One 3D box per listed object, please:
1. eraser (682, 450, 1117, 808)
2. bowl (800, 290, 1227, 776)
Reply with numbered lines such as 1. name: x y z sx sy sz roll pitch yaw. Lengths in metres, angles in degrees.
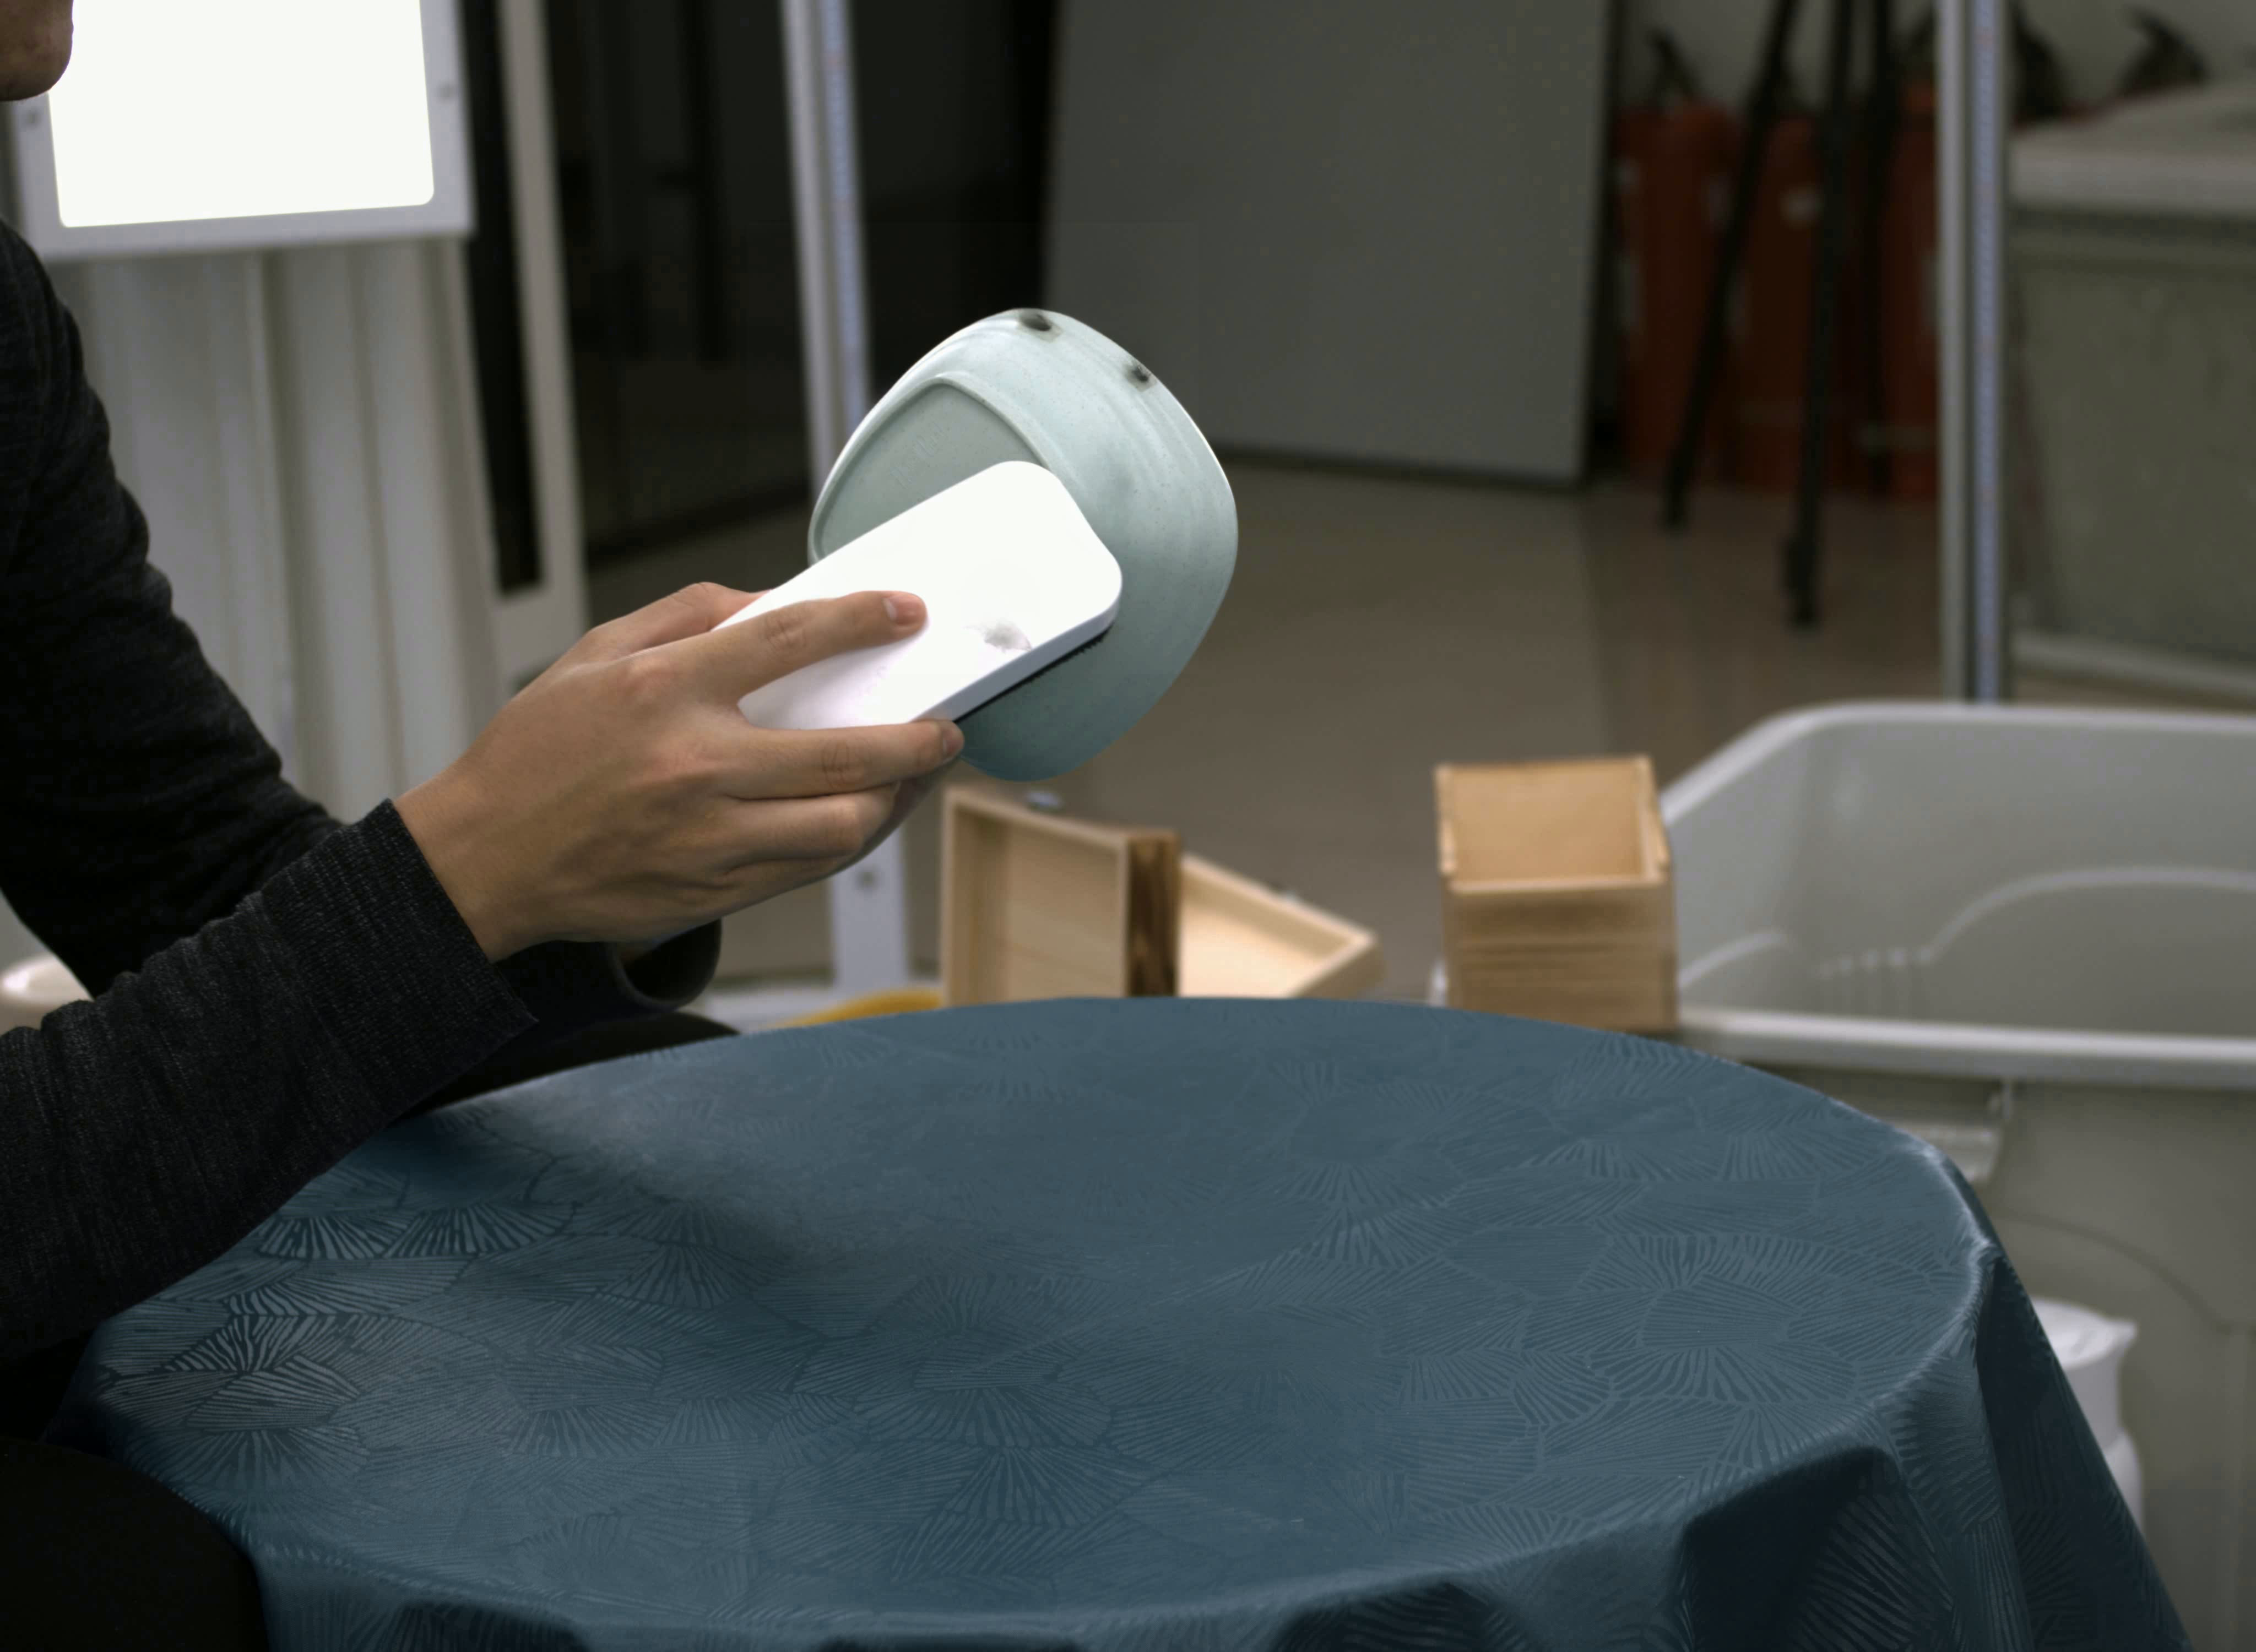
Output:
1. eraser: -0.068 -0.060 1.613 0.130 0.064 0.034 -31 -25 -10
2. bowl: -0.047 -0.093 1.686 0.152 0.153 0.057 5 2 32
